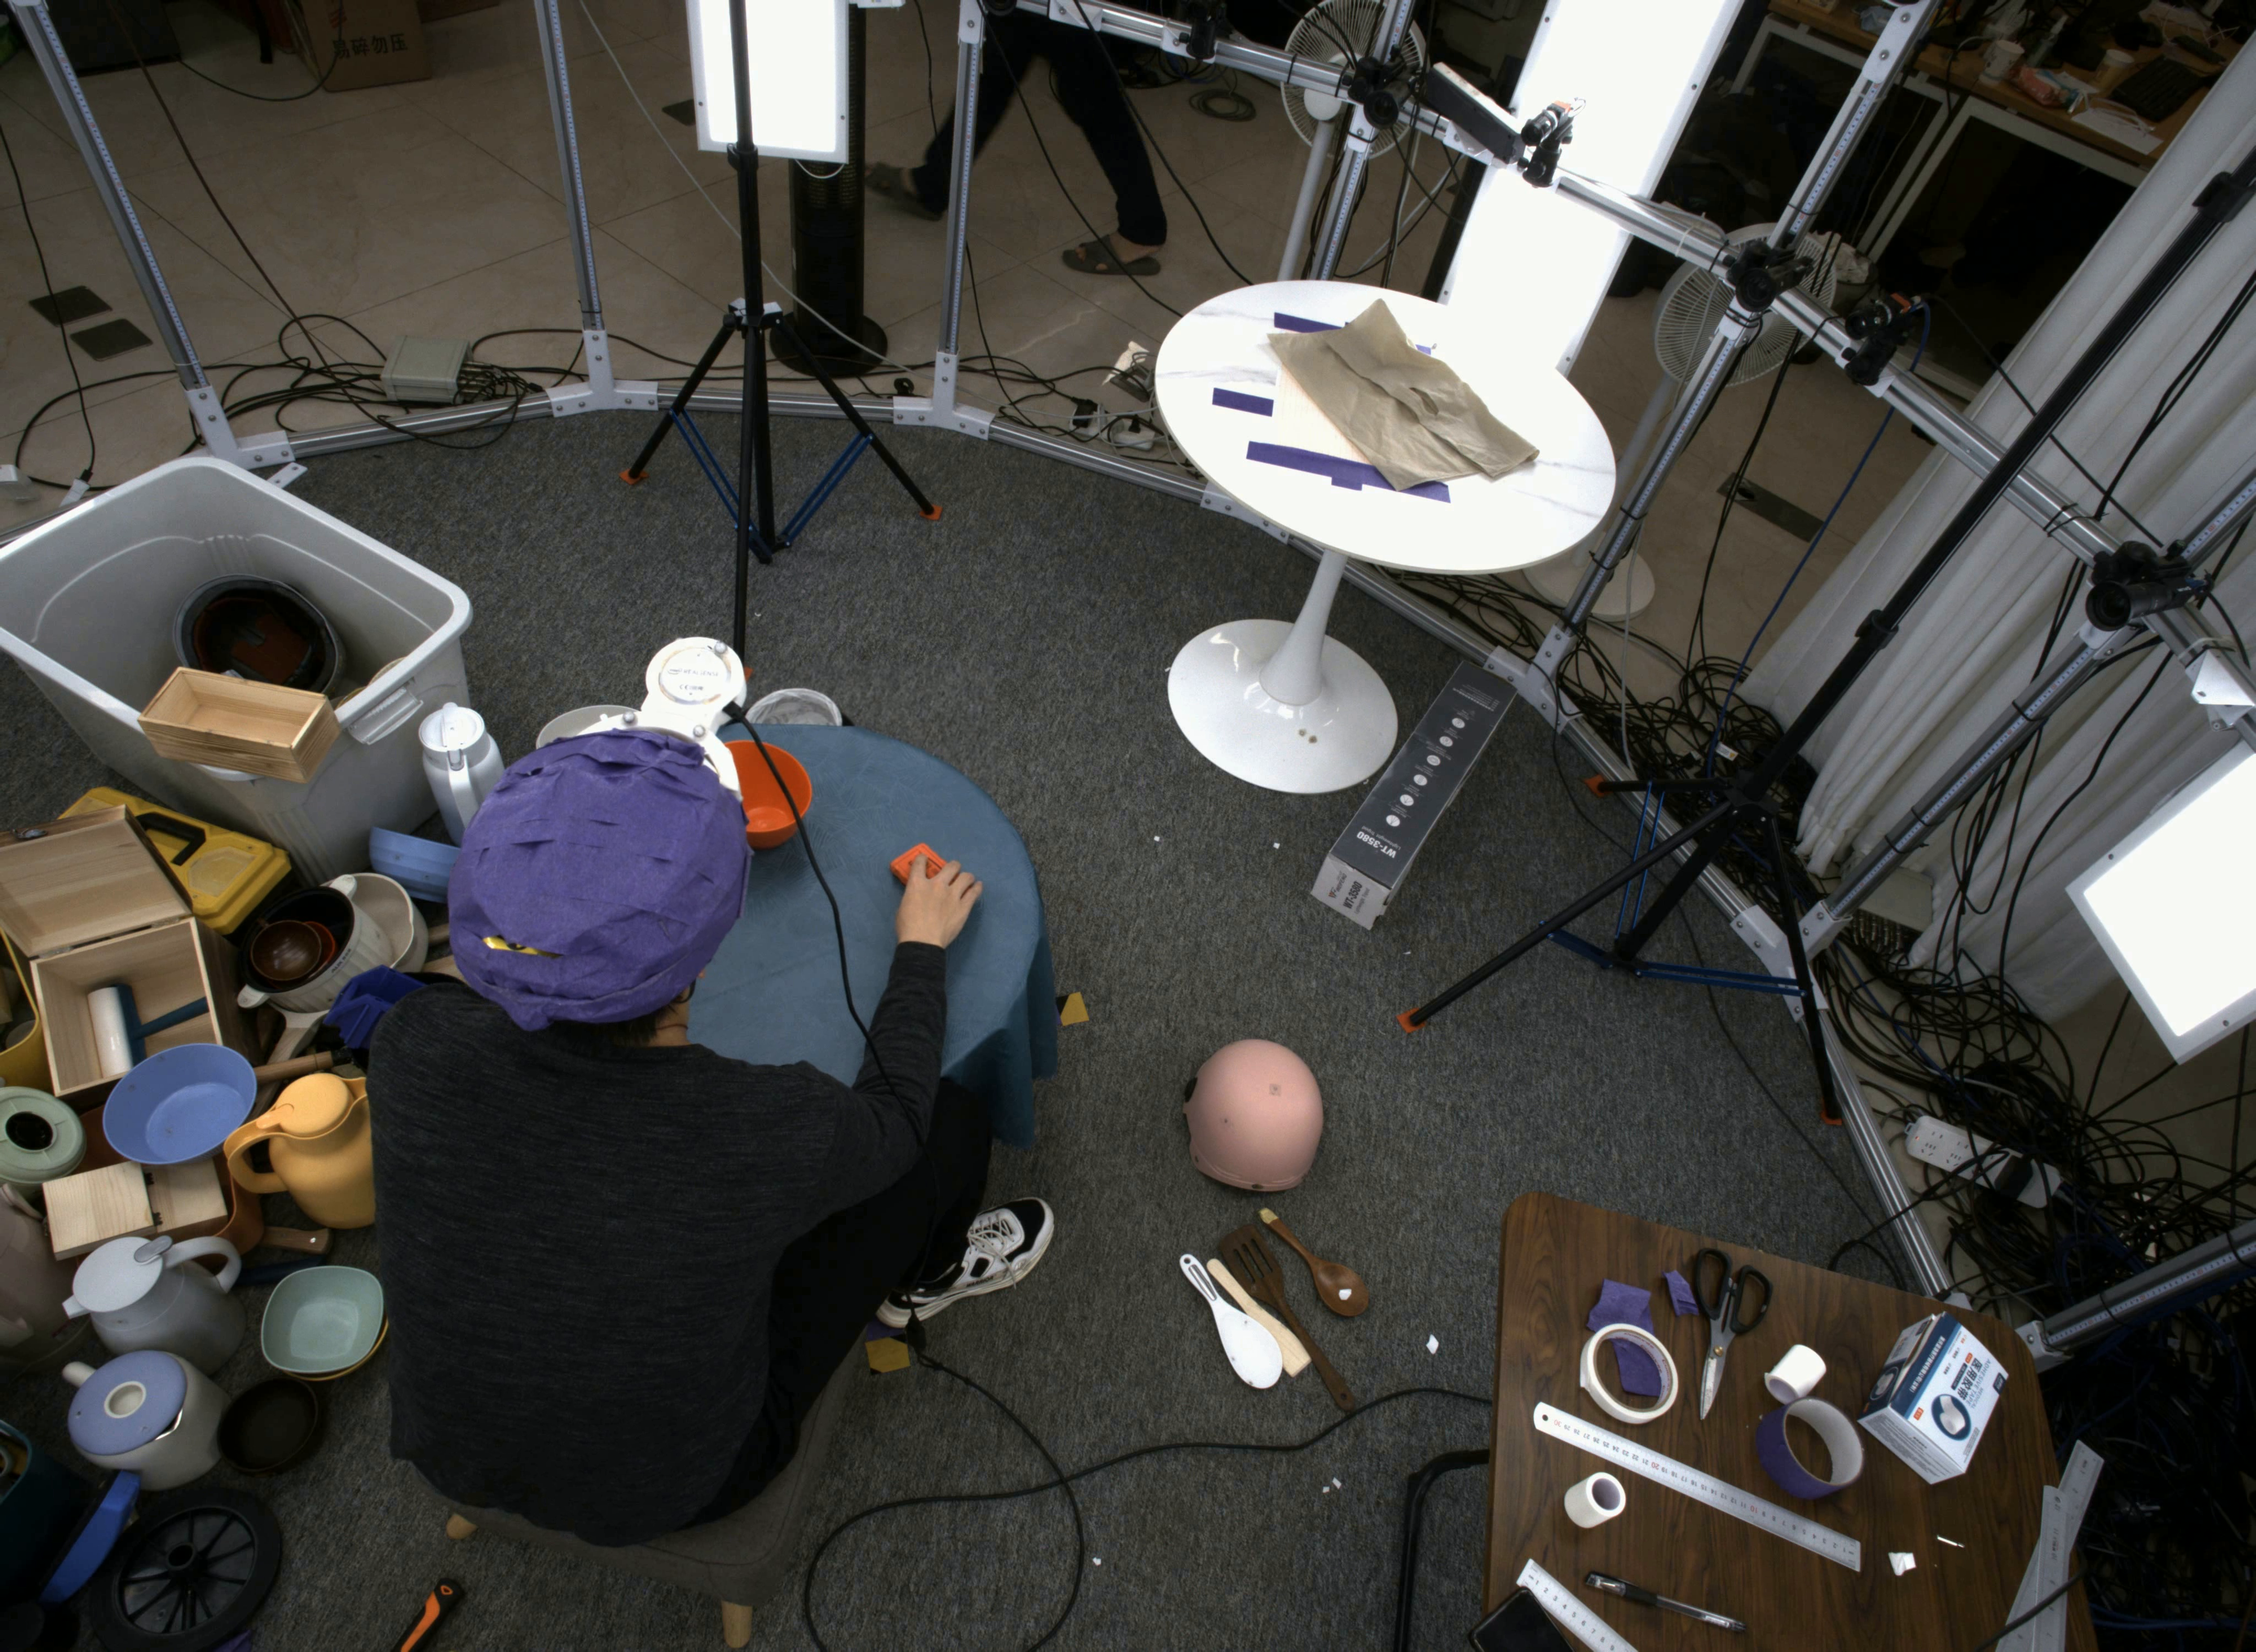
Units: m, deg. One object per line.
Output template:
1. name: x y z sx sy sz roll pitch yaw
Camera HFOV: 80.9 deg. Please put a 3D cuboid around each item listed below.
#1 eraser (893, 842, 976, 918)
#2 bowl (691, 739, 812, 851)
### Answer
1. eraser: -0.252 0.069 1.692 0.105 0.023 0.059 38 52 19
2. bowl: -0.480 -0.027 1.661 0.147 0.107 0.145 7 52 -7
